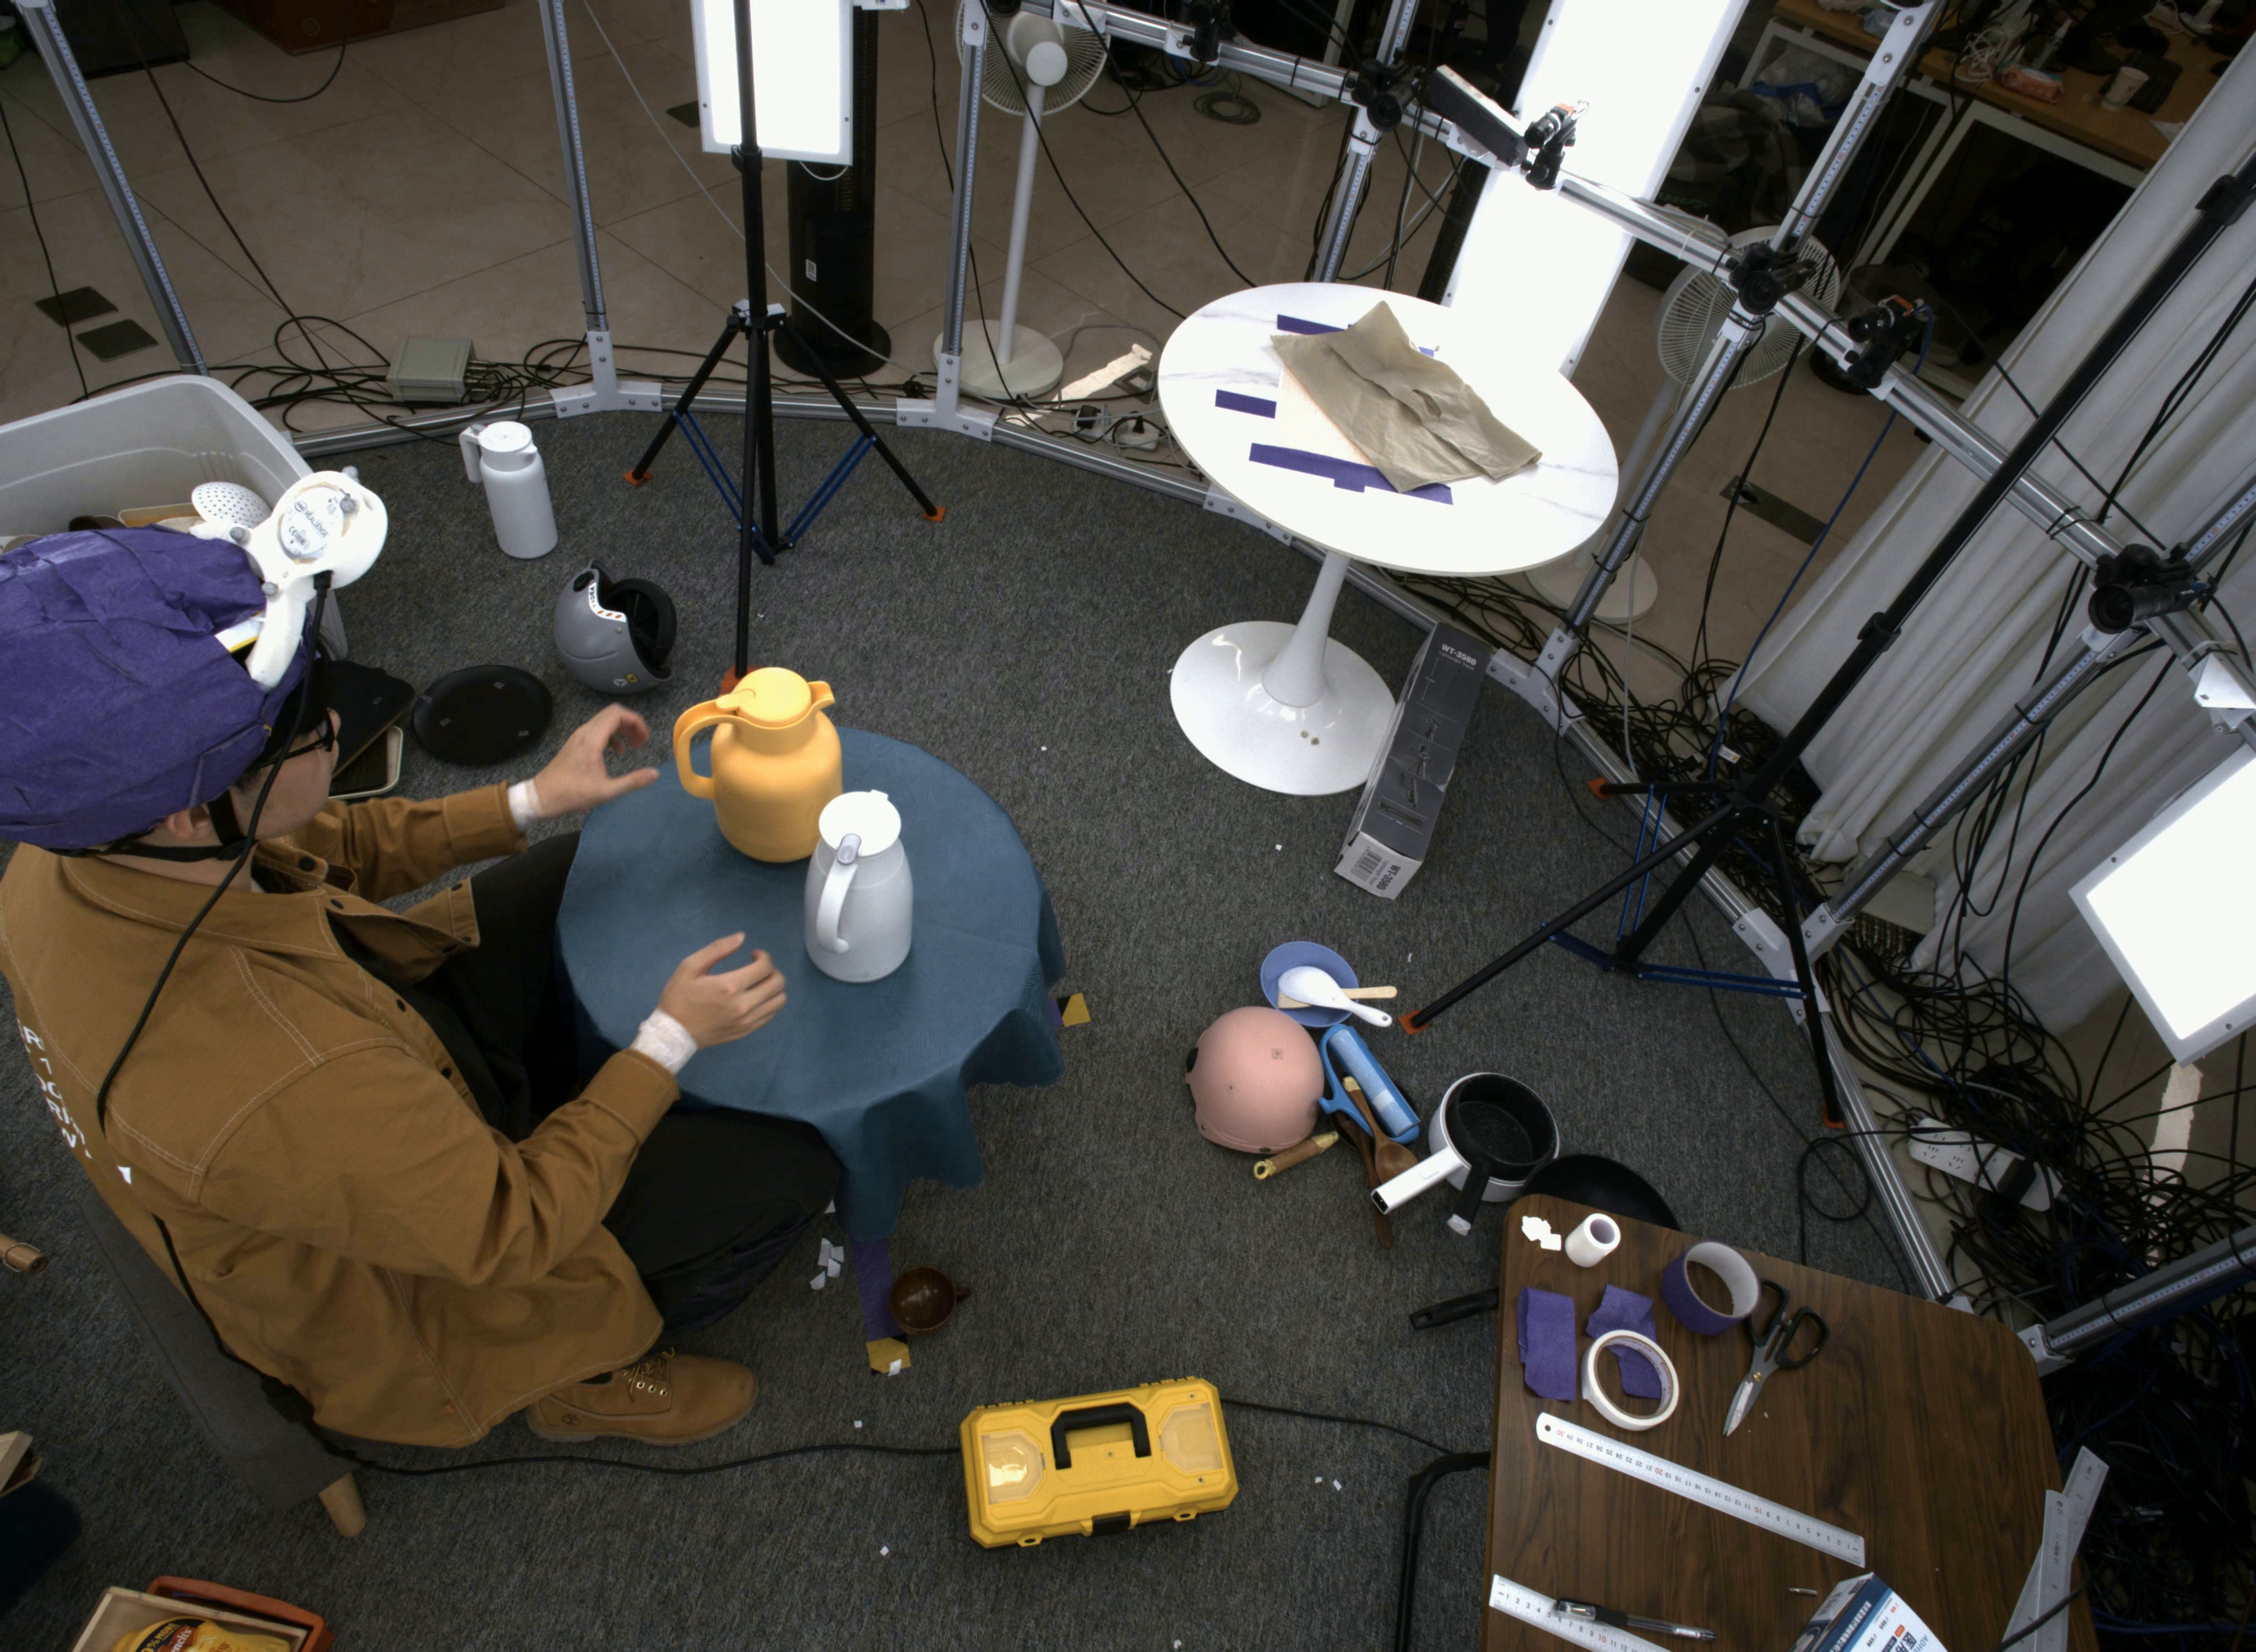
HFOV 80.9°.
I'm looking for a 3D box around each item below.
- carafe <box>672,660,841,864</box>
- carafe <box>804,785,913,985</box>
[{"bbox_3d":[-0.459,-0.083,1.607,0.203,0.266,0.159,-10,53,-21],"label":"carafe"},{"bbox_3d":[-0.323,0.078,1.528,0.131,0.254,0.166,16,51,1],"label":"carafe"}]
